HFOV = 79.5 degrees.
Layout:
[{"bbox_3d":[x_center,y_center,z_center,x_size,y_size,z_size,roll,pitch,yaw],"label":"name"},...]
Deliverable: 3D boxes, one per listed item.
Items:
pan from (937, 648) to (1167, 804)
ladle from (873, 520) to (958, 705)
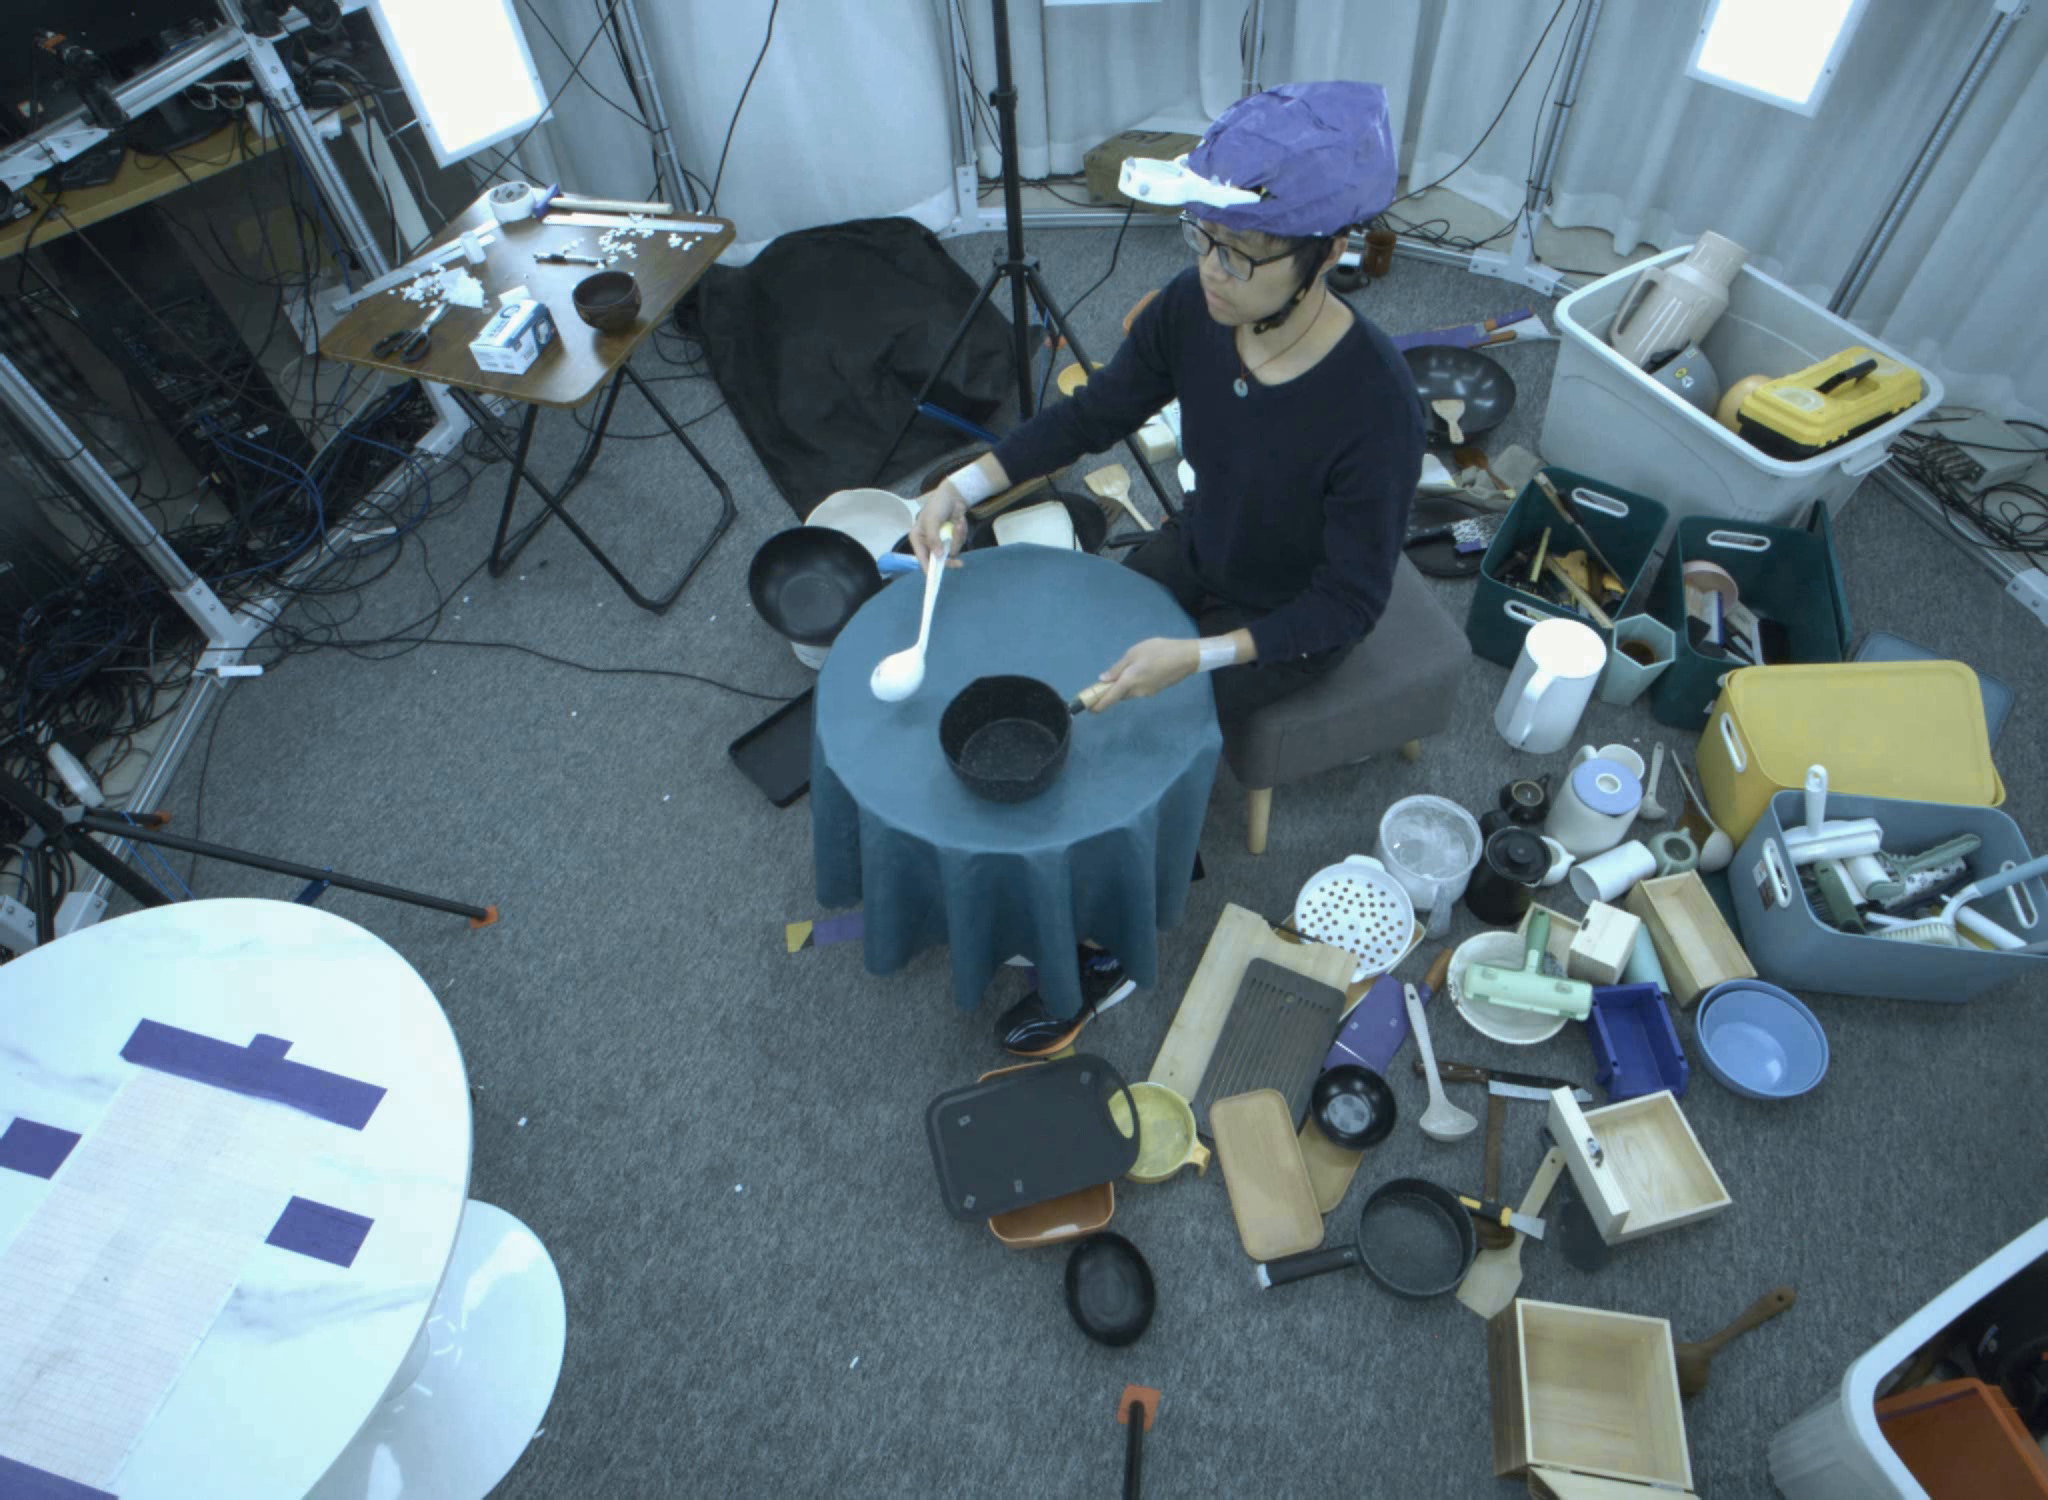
[{"bbox_3d":[0.047,-0.047,1.744,0.344,0.109,0.203,-24,55,-9],"label":"pan"},{"bbox_3d":[-0.157,-0.208,1.830,0.068,0.092,0.292,-1,70,31],"label":"ladle"}]
